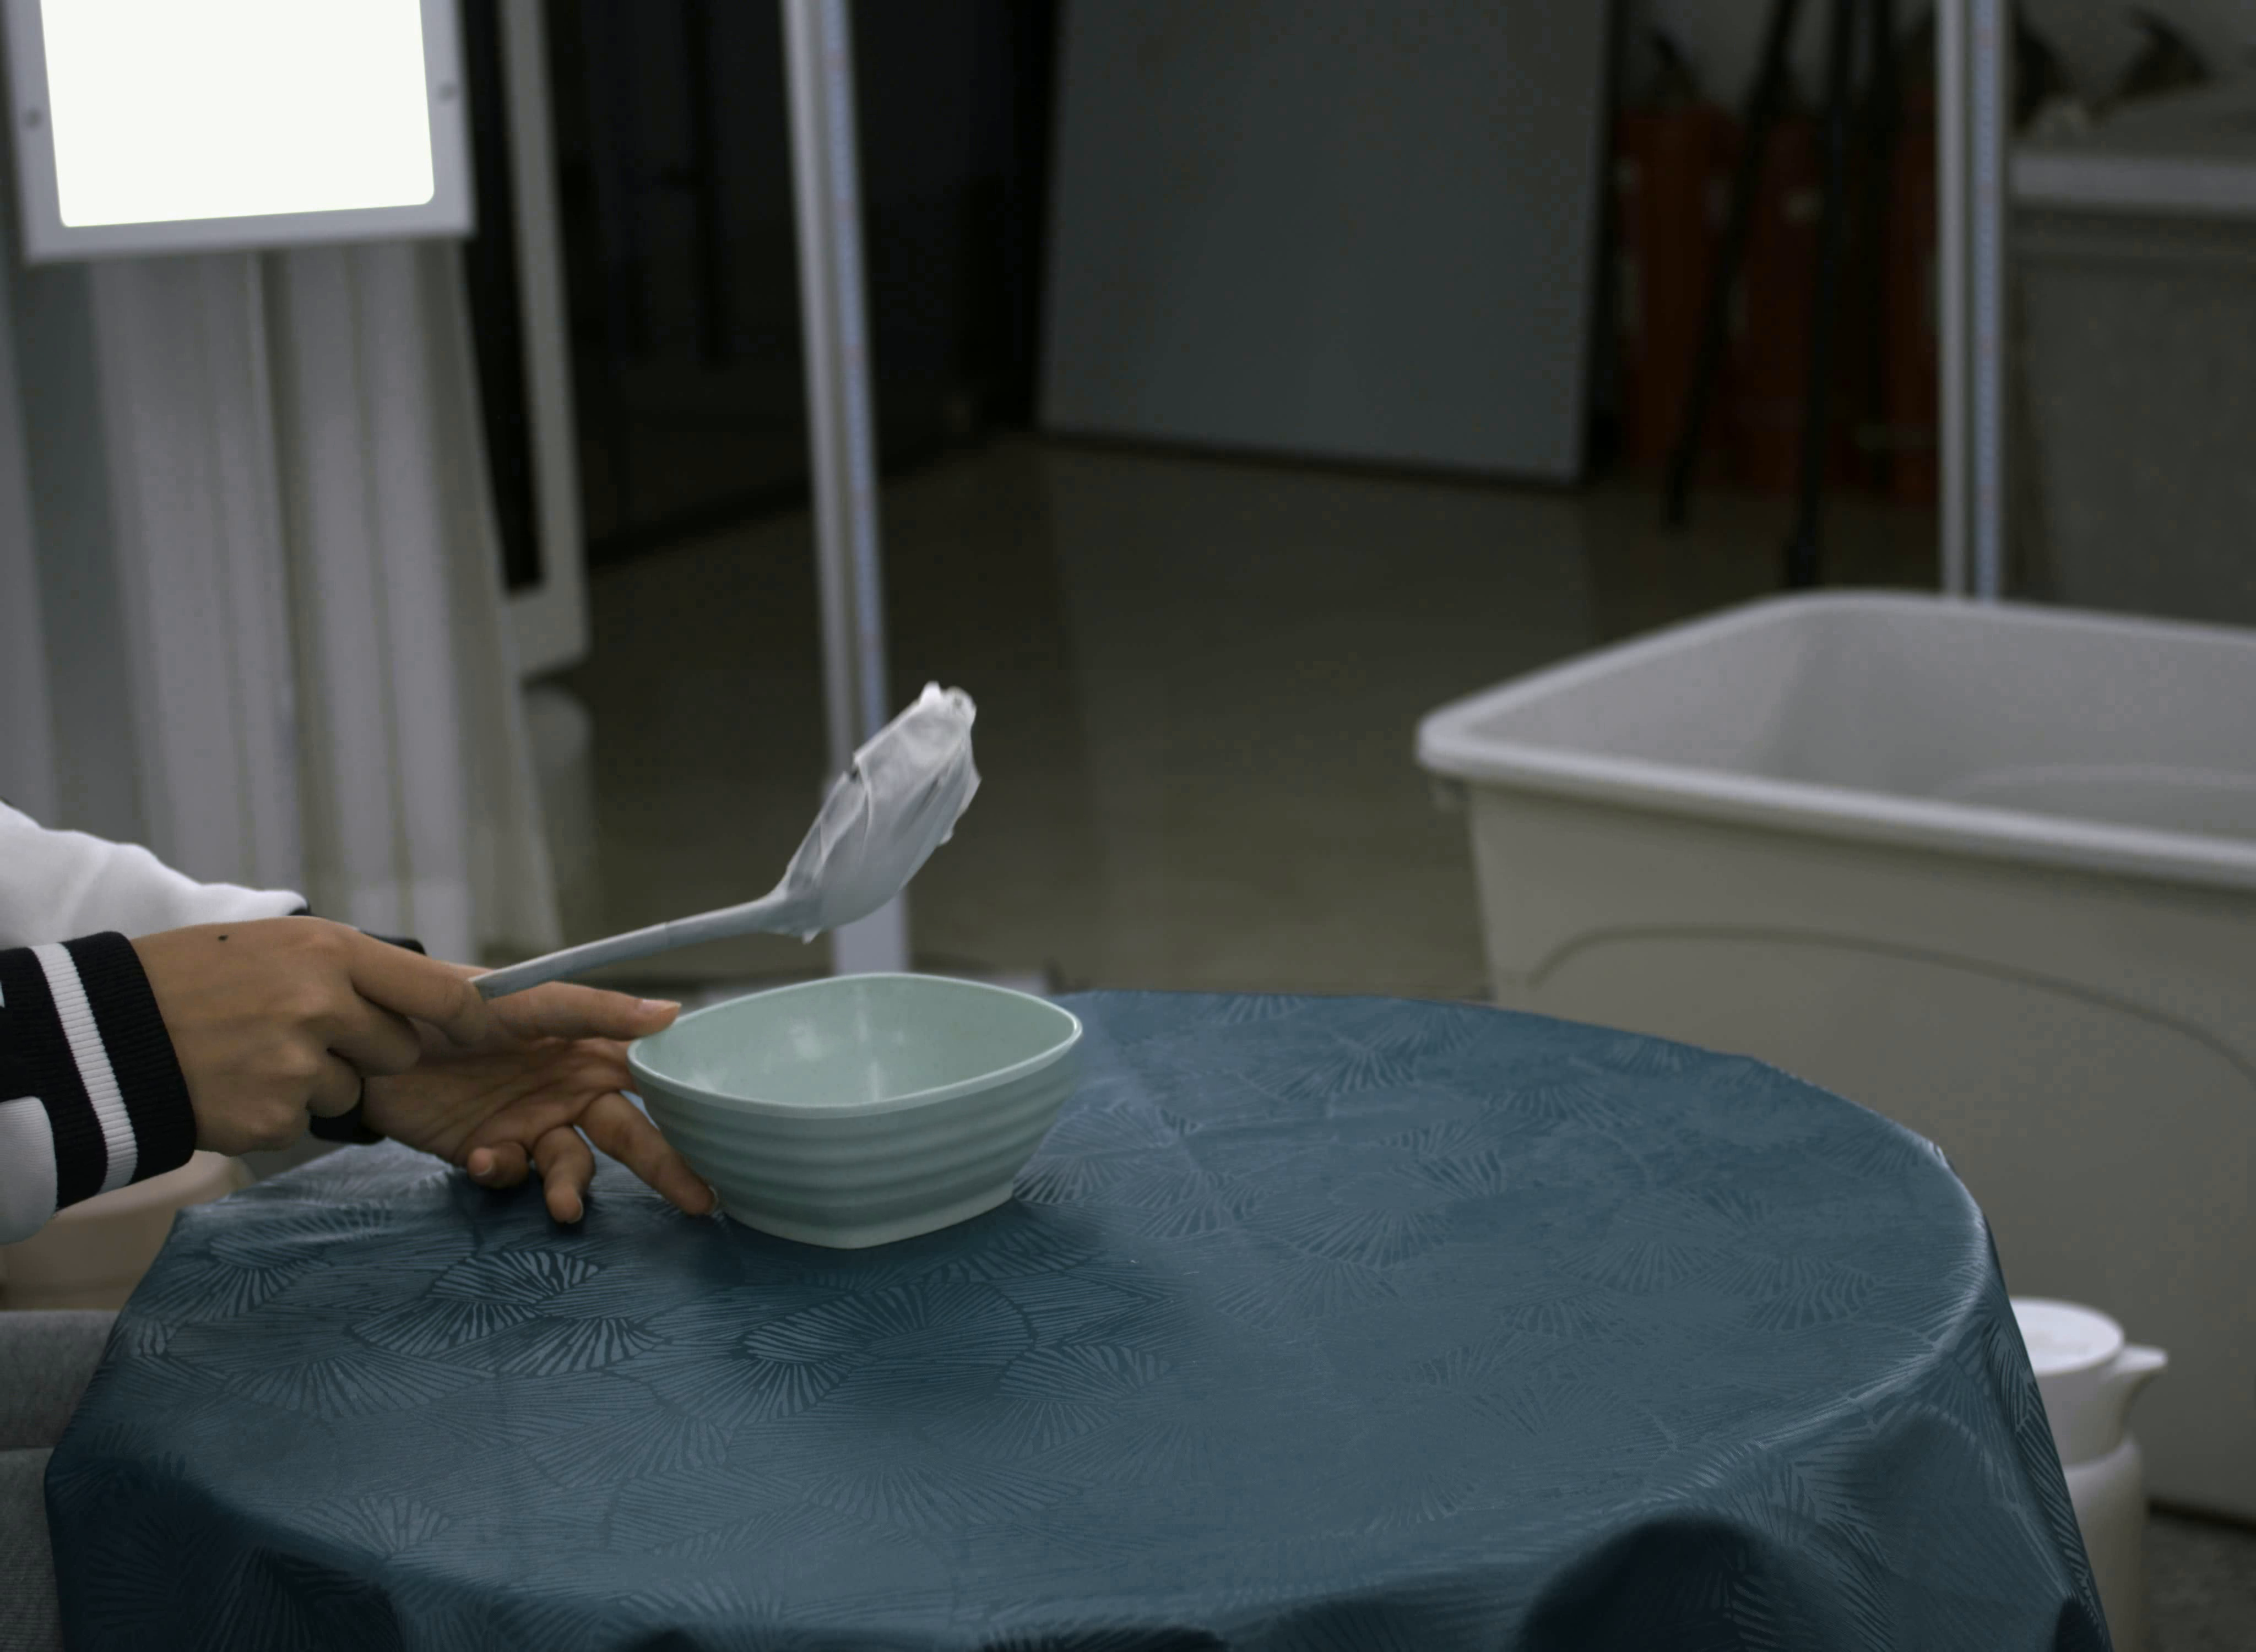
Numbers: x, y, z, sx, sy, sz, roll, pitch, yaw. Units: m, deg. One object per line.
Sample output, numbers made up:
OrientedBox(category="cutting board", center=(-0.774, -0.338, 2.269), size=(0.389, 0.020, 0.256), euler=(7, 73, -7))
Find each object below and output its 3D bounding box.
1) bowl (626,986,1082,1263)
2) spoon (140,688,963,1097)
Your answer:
OrientedBox(category="bowl", center=(-0.088, 0.100, 1.771), size=(0.149, 0.059, 0.152), euler=(-4, 13, 0))
OrientedBox(category="spoon", center=(-0.175, 0.025, 1.673), size=(0.273, 0.101, 0.060), euler=(-15, 59, -9))
